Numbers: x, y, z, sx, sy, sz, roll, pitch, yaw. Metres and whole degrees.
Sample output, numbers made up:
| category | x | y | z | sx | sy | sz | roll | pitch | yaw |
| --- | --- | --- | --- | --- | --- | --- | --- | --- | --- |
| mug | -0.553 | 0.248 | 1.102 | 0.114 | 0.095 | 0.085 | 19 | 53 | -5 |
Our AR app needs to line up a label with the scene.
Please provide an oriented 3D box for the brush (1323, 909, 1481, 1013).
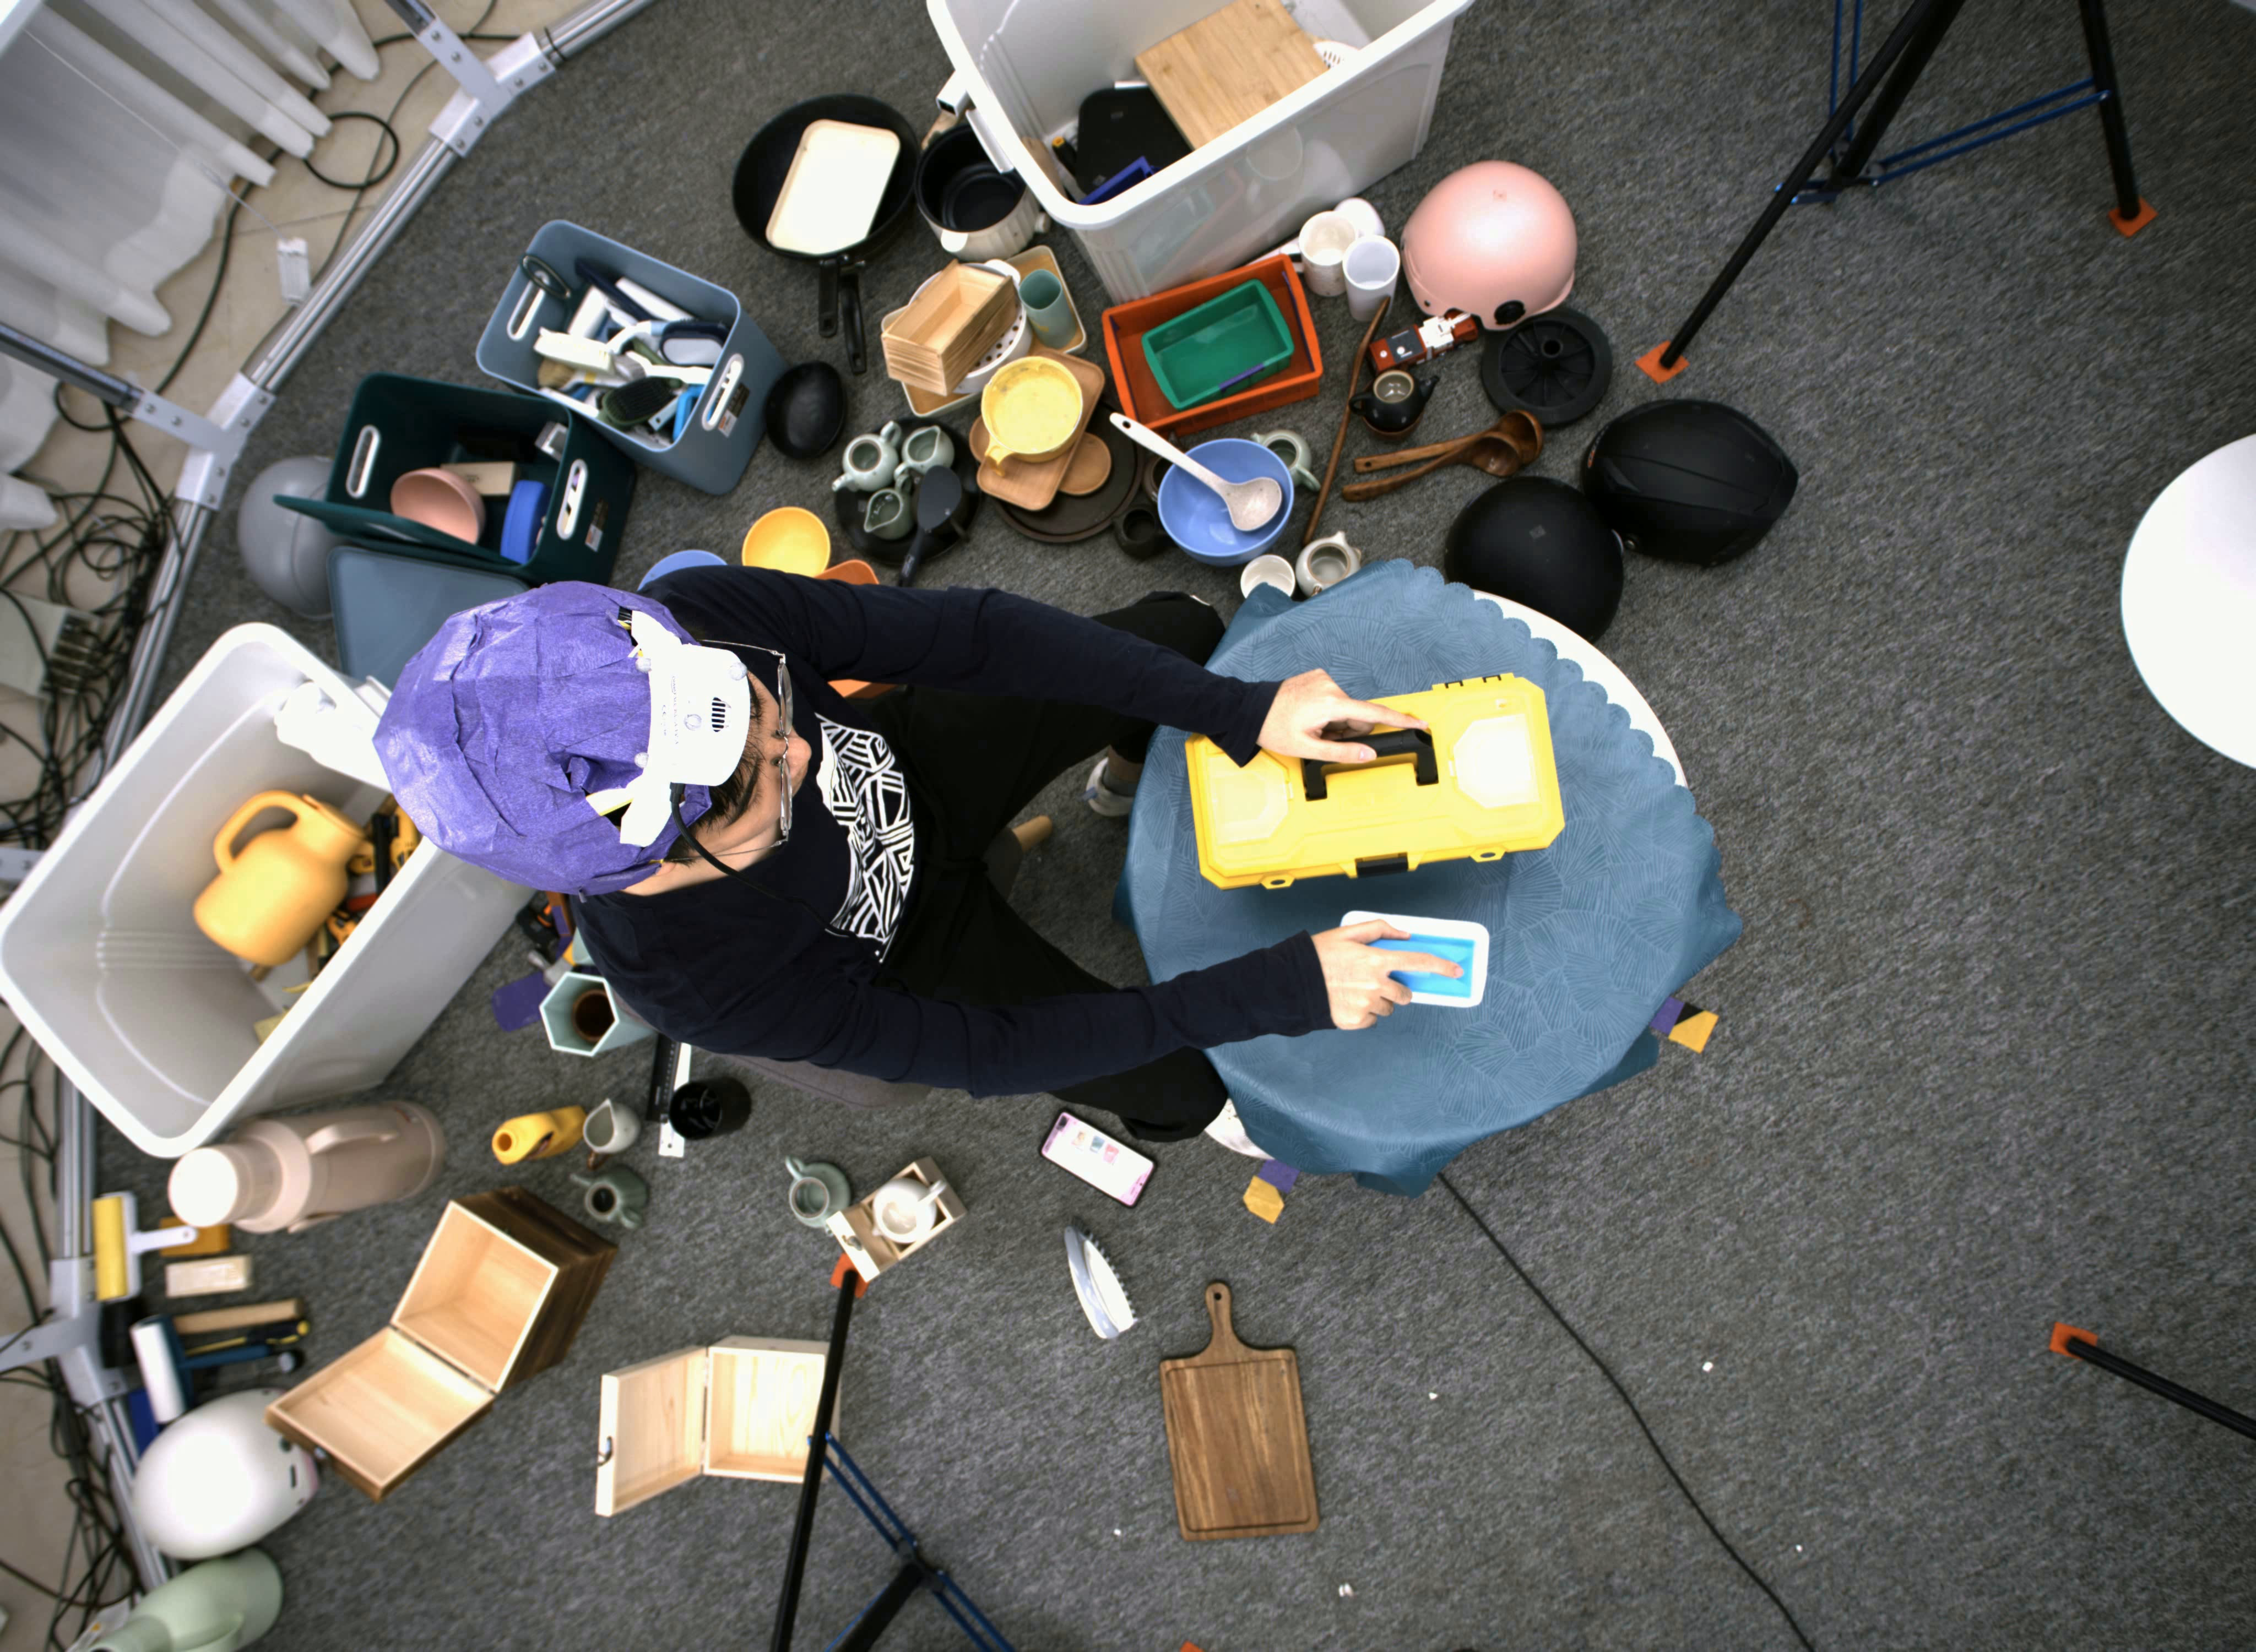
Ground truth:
| category | x | y | z | sx | sy | sz | roll | pitch | yaw |
| --- | --- | --- | --- | --- | --- | --- | --- | --- | --- |
| brush | 0.255 | 0.125 | 1.284 | 0.144 | 0.056 | 0.084 | 8 | 90 | 9 |

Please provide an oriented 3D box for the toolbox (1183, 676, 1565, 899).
| category | x | y | z | sx | sy | sz | roll | pitch | yaw |
| --- | --- | --- | --- | --- | --- | --- | --- | --- | --- |
| toolbox | 0.243 | -0.034 | 1.381 | 0.353 | 0.173 | 0.180 | -8 | 84 | 10 |
